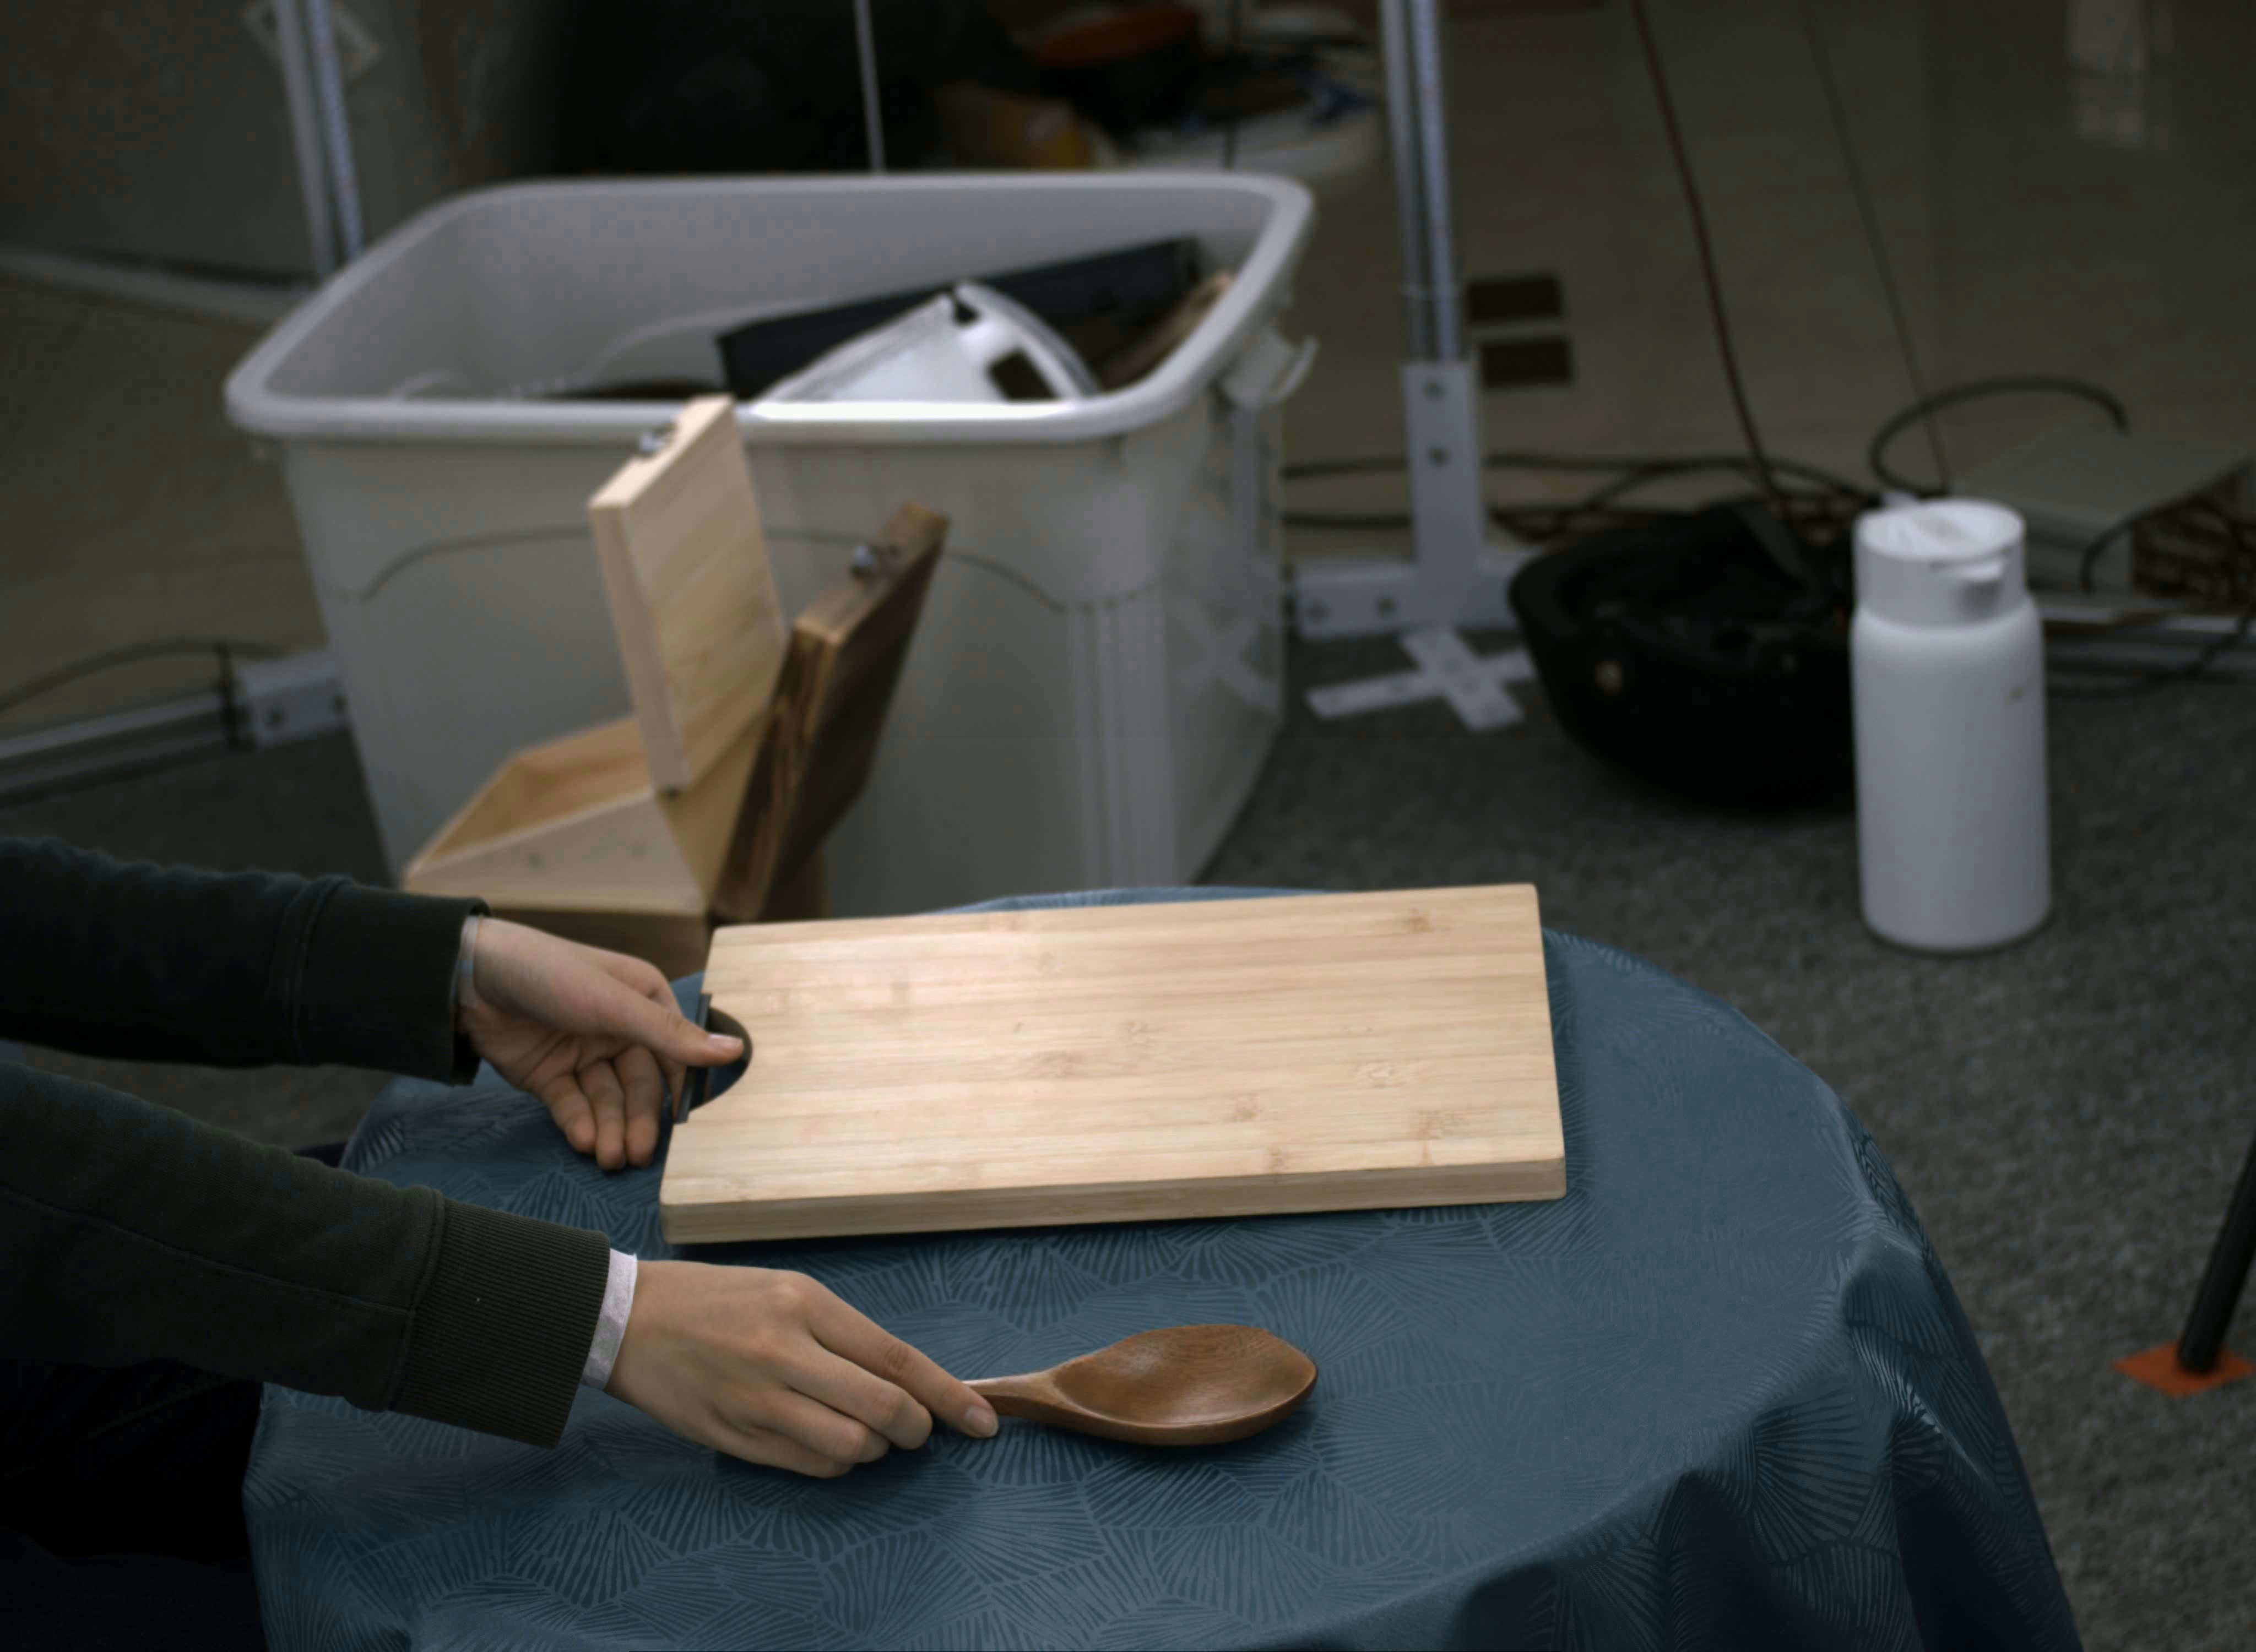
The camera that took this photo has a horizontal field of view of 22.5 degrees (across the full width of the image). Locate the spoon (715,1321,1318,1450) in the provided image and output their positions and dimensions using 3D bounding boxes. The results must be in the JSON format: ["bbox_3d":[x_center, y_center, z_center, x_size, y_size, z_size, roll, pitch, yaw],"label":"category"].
[{"bbox_3d":[-0.040,0.202,2.007,0.215,0.017,0.074,-2,27,8],"label":"spoon"}]

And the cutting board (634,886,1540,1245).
[{"bbox_3d":[-0.010,0.092,2.224,0.348,0.024,0.247,-3,24,2],"label":"cutting board"}]
